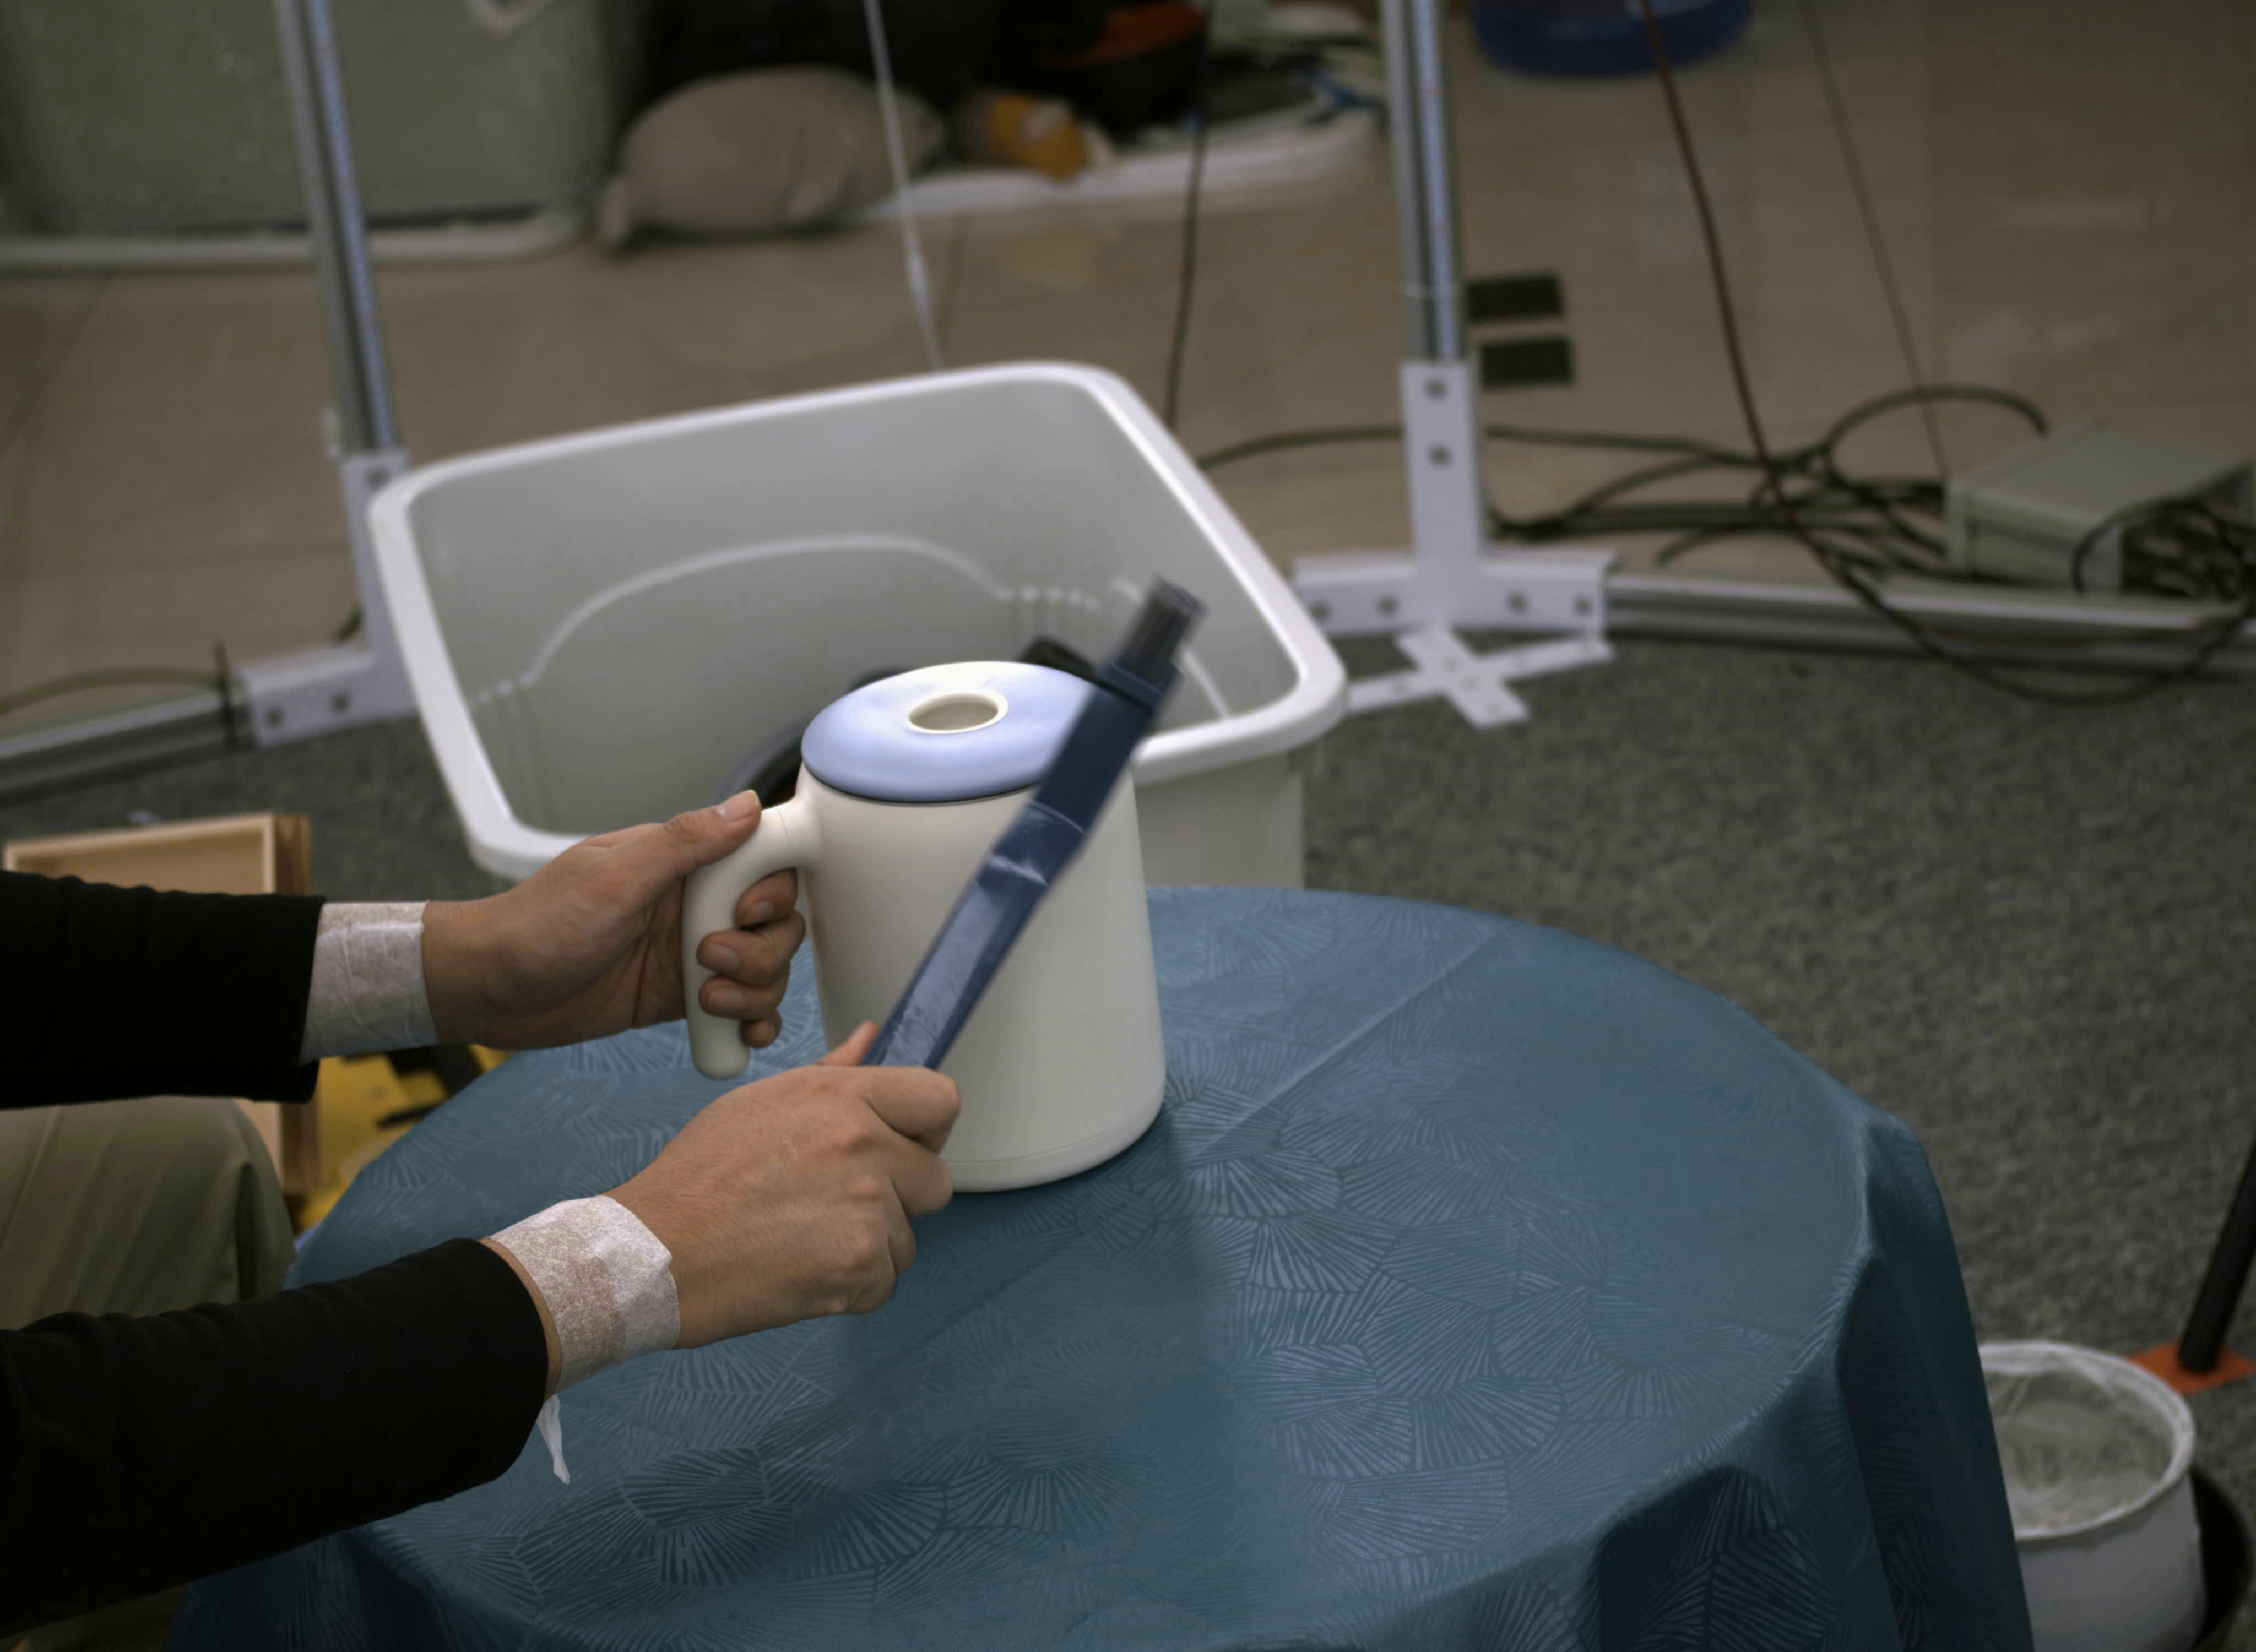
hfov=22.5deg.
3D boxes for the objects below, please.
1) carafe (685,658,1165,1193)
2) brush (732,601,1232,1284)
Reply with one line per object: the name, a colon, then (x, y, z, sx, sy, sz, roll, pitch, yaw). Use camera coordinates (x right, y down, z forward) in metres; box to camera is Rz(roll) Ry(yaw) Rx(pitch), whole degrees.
carafe: (-0.080, 0.044, 2.166, 0.190, 0.185, 0.130, -16, 27, -17)
brush: (-0.050, 0.039, 1.998, 0.033, 0.097, 0.270, 33, 63, 2)
